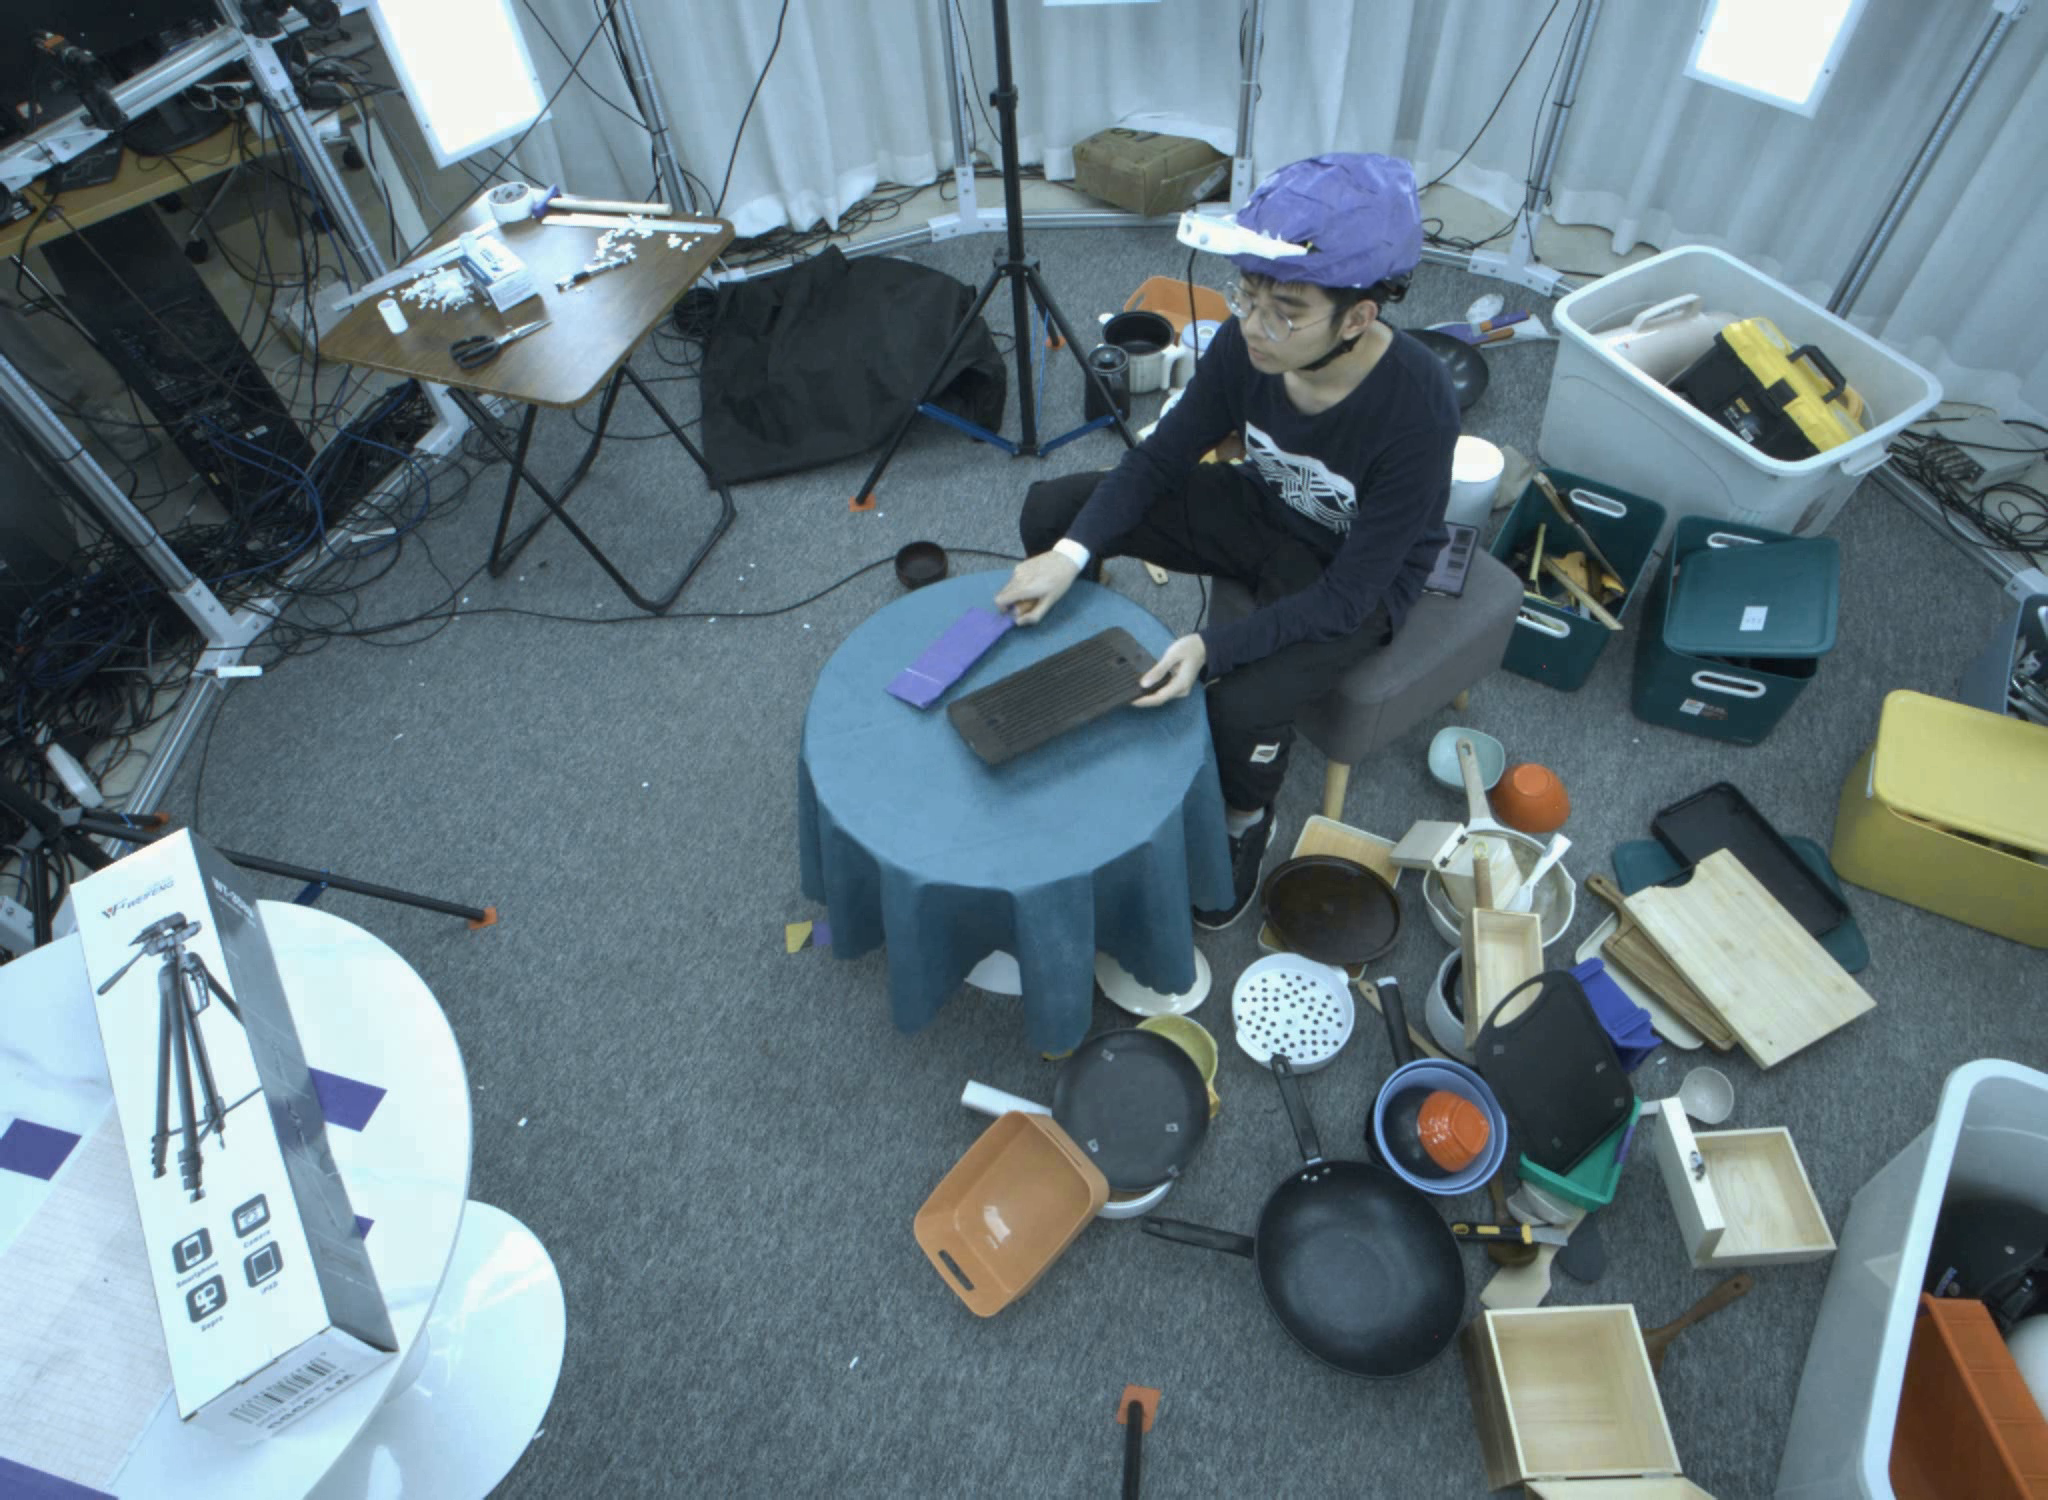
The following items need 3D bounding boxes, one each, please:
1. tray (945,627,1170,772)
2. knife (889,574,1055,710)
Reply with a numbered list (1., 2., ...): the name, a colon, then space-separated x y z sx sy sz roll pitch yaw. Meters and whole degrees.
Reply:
1. tray: 0.049 -0.077 1.808 0.308 0.019 0.166 -27 43 -15
2. knife: -0.083 -0.181 1.902 0.101 0.032 0.317 27 59 31
